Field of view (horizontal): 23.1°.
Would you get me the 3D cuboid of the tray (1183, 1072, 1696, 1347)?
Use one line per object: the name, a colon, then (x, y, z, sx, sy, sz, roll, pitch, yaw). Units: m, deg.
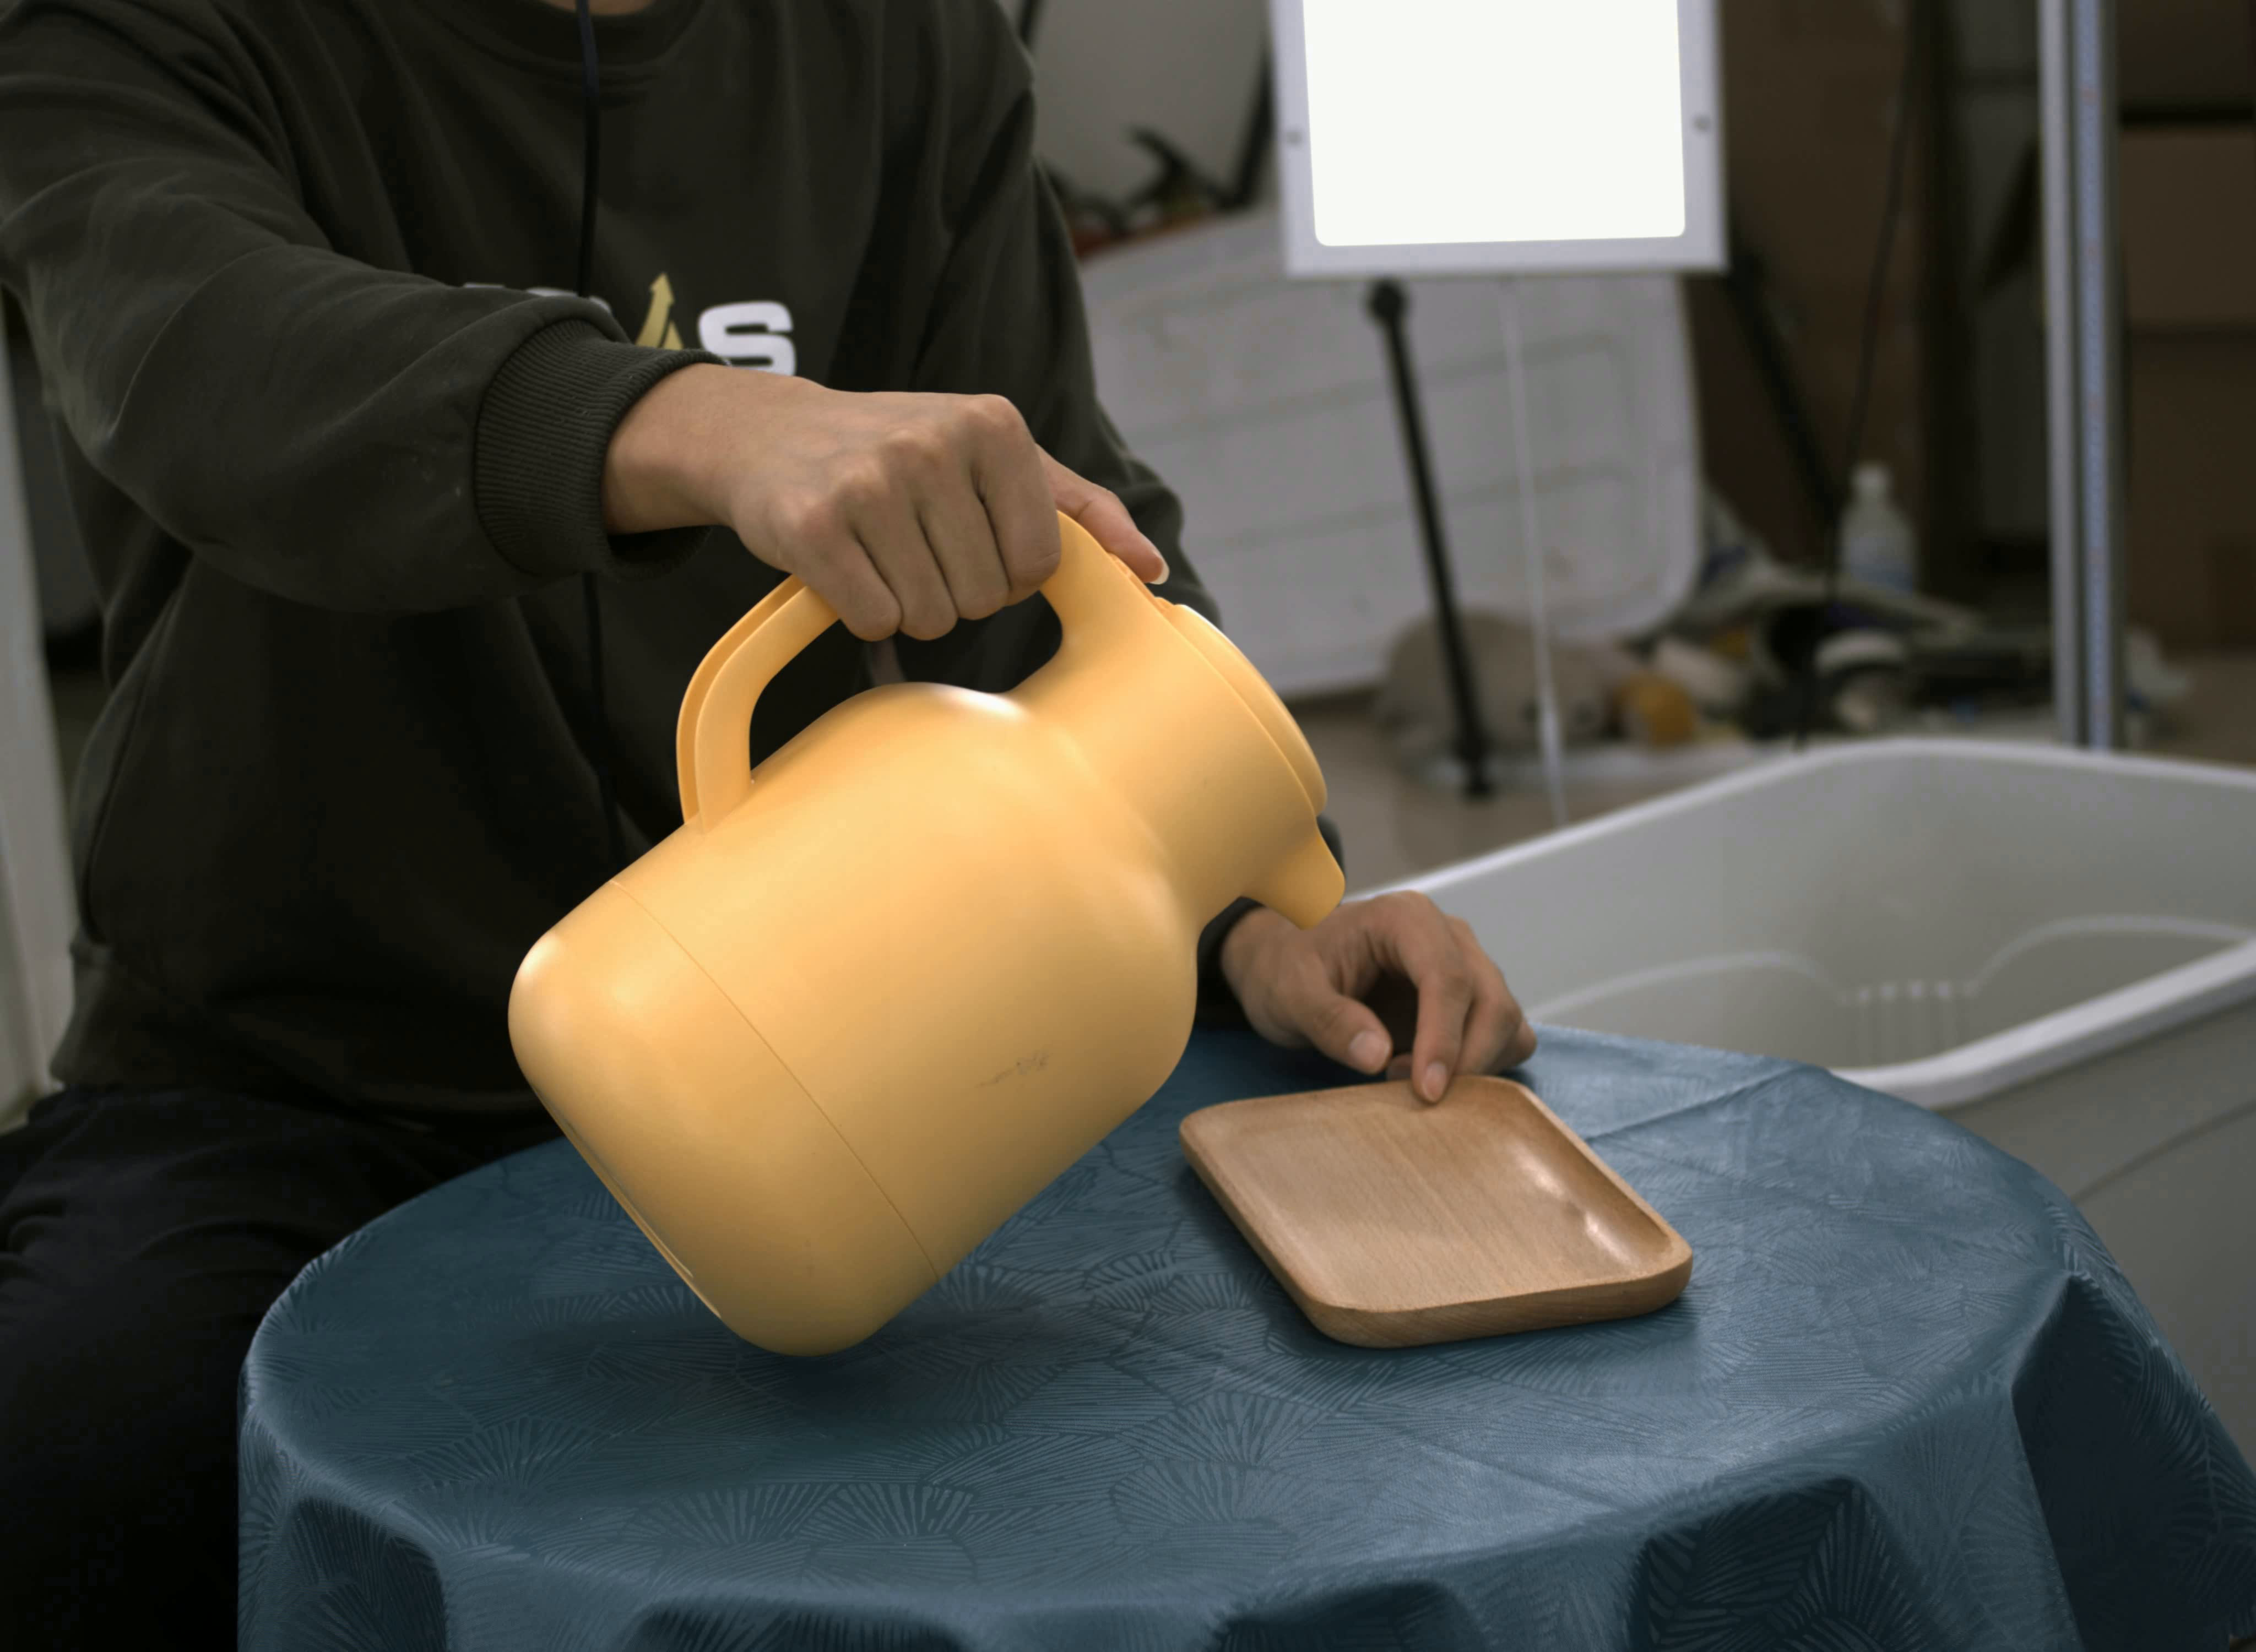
tray: (0.100, 0.125, 1.833, 0.129, 0.023, 0.252, -5, 12, -9)

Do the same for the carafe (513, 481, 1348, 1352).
carafe: (-0.069, 0.020, 1.735, 0.258, 0.201, 0.165, -39, 14, -10)
